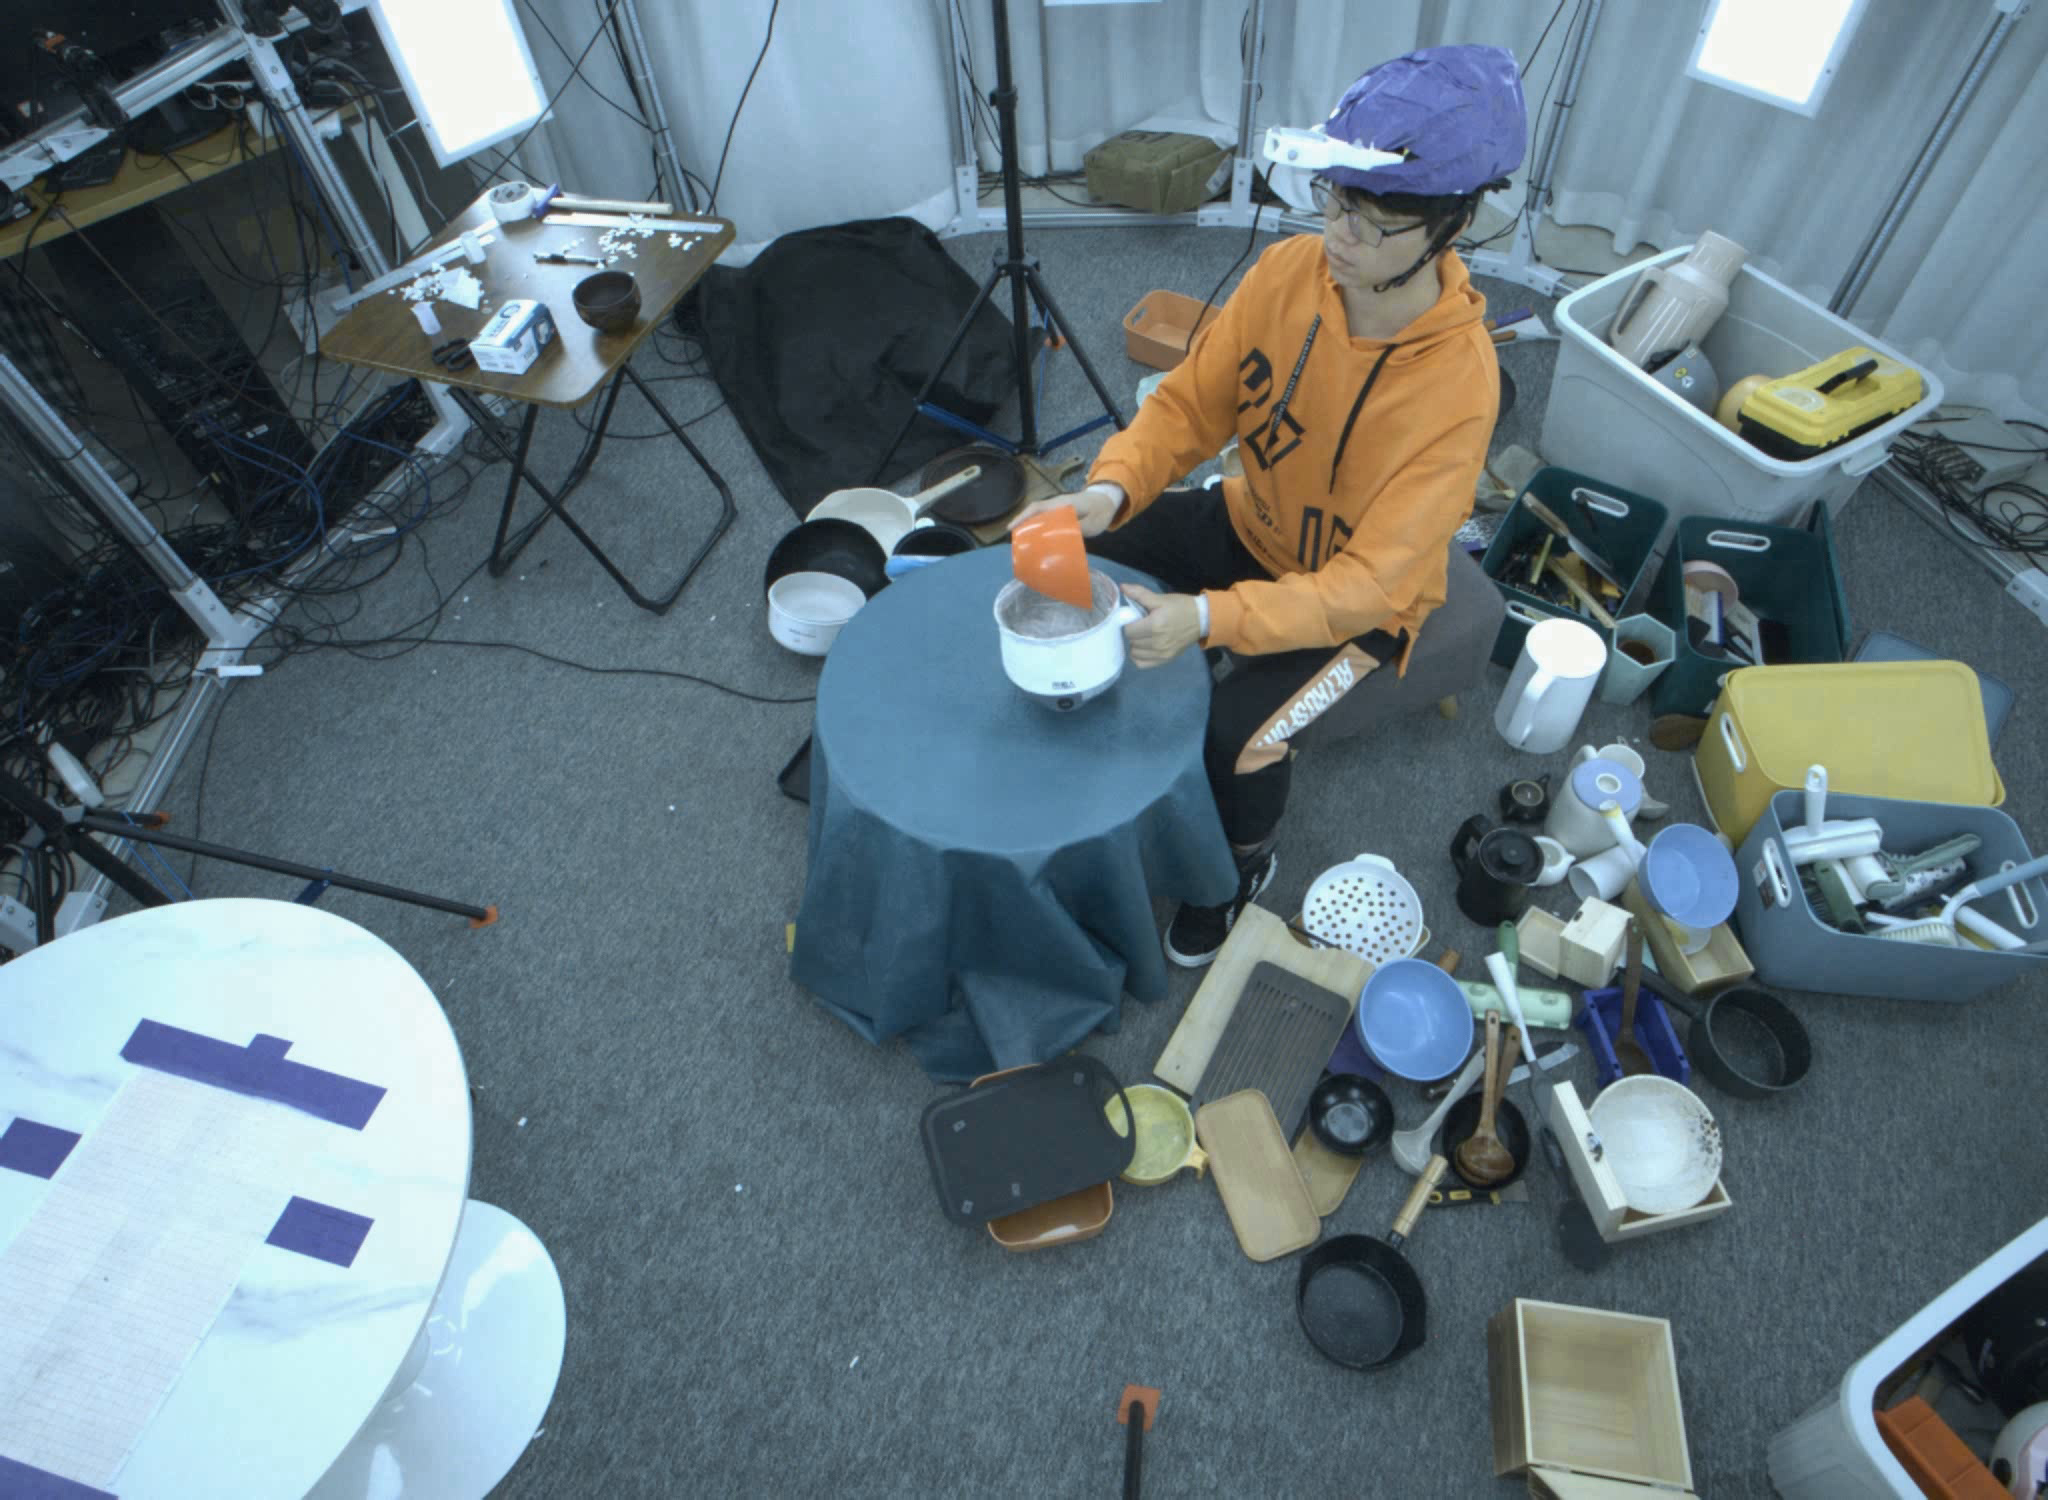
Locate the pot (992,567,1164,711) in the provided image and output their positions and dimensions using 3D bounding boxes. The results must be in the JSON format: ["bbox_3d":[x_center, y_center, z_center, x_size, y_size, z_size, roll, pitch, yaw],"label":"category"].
[{"bbox_3d":[0.080,-0.163,1.749,0.233,0.138,0.176,-6,44,4],"label":"pot"}]

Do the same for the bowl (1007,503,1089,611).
[{"bbox_3d":[0.031,-0.261,1.671,0.104,0.150,0.146,-4,55,2],"label":"bowl"}]
